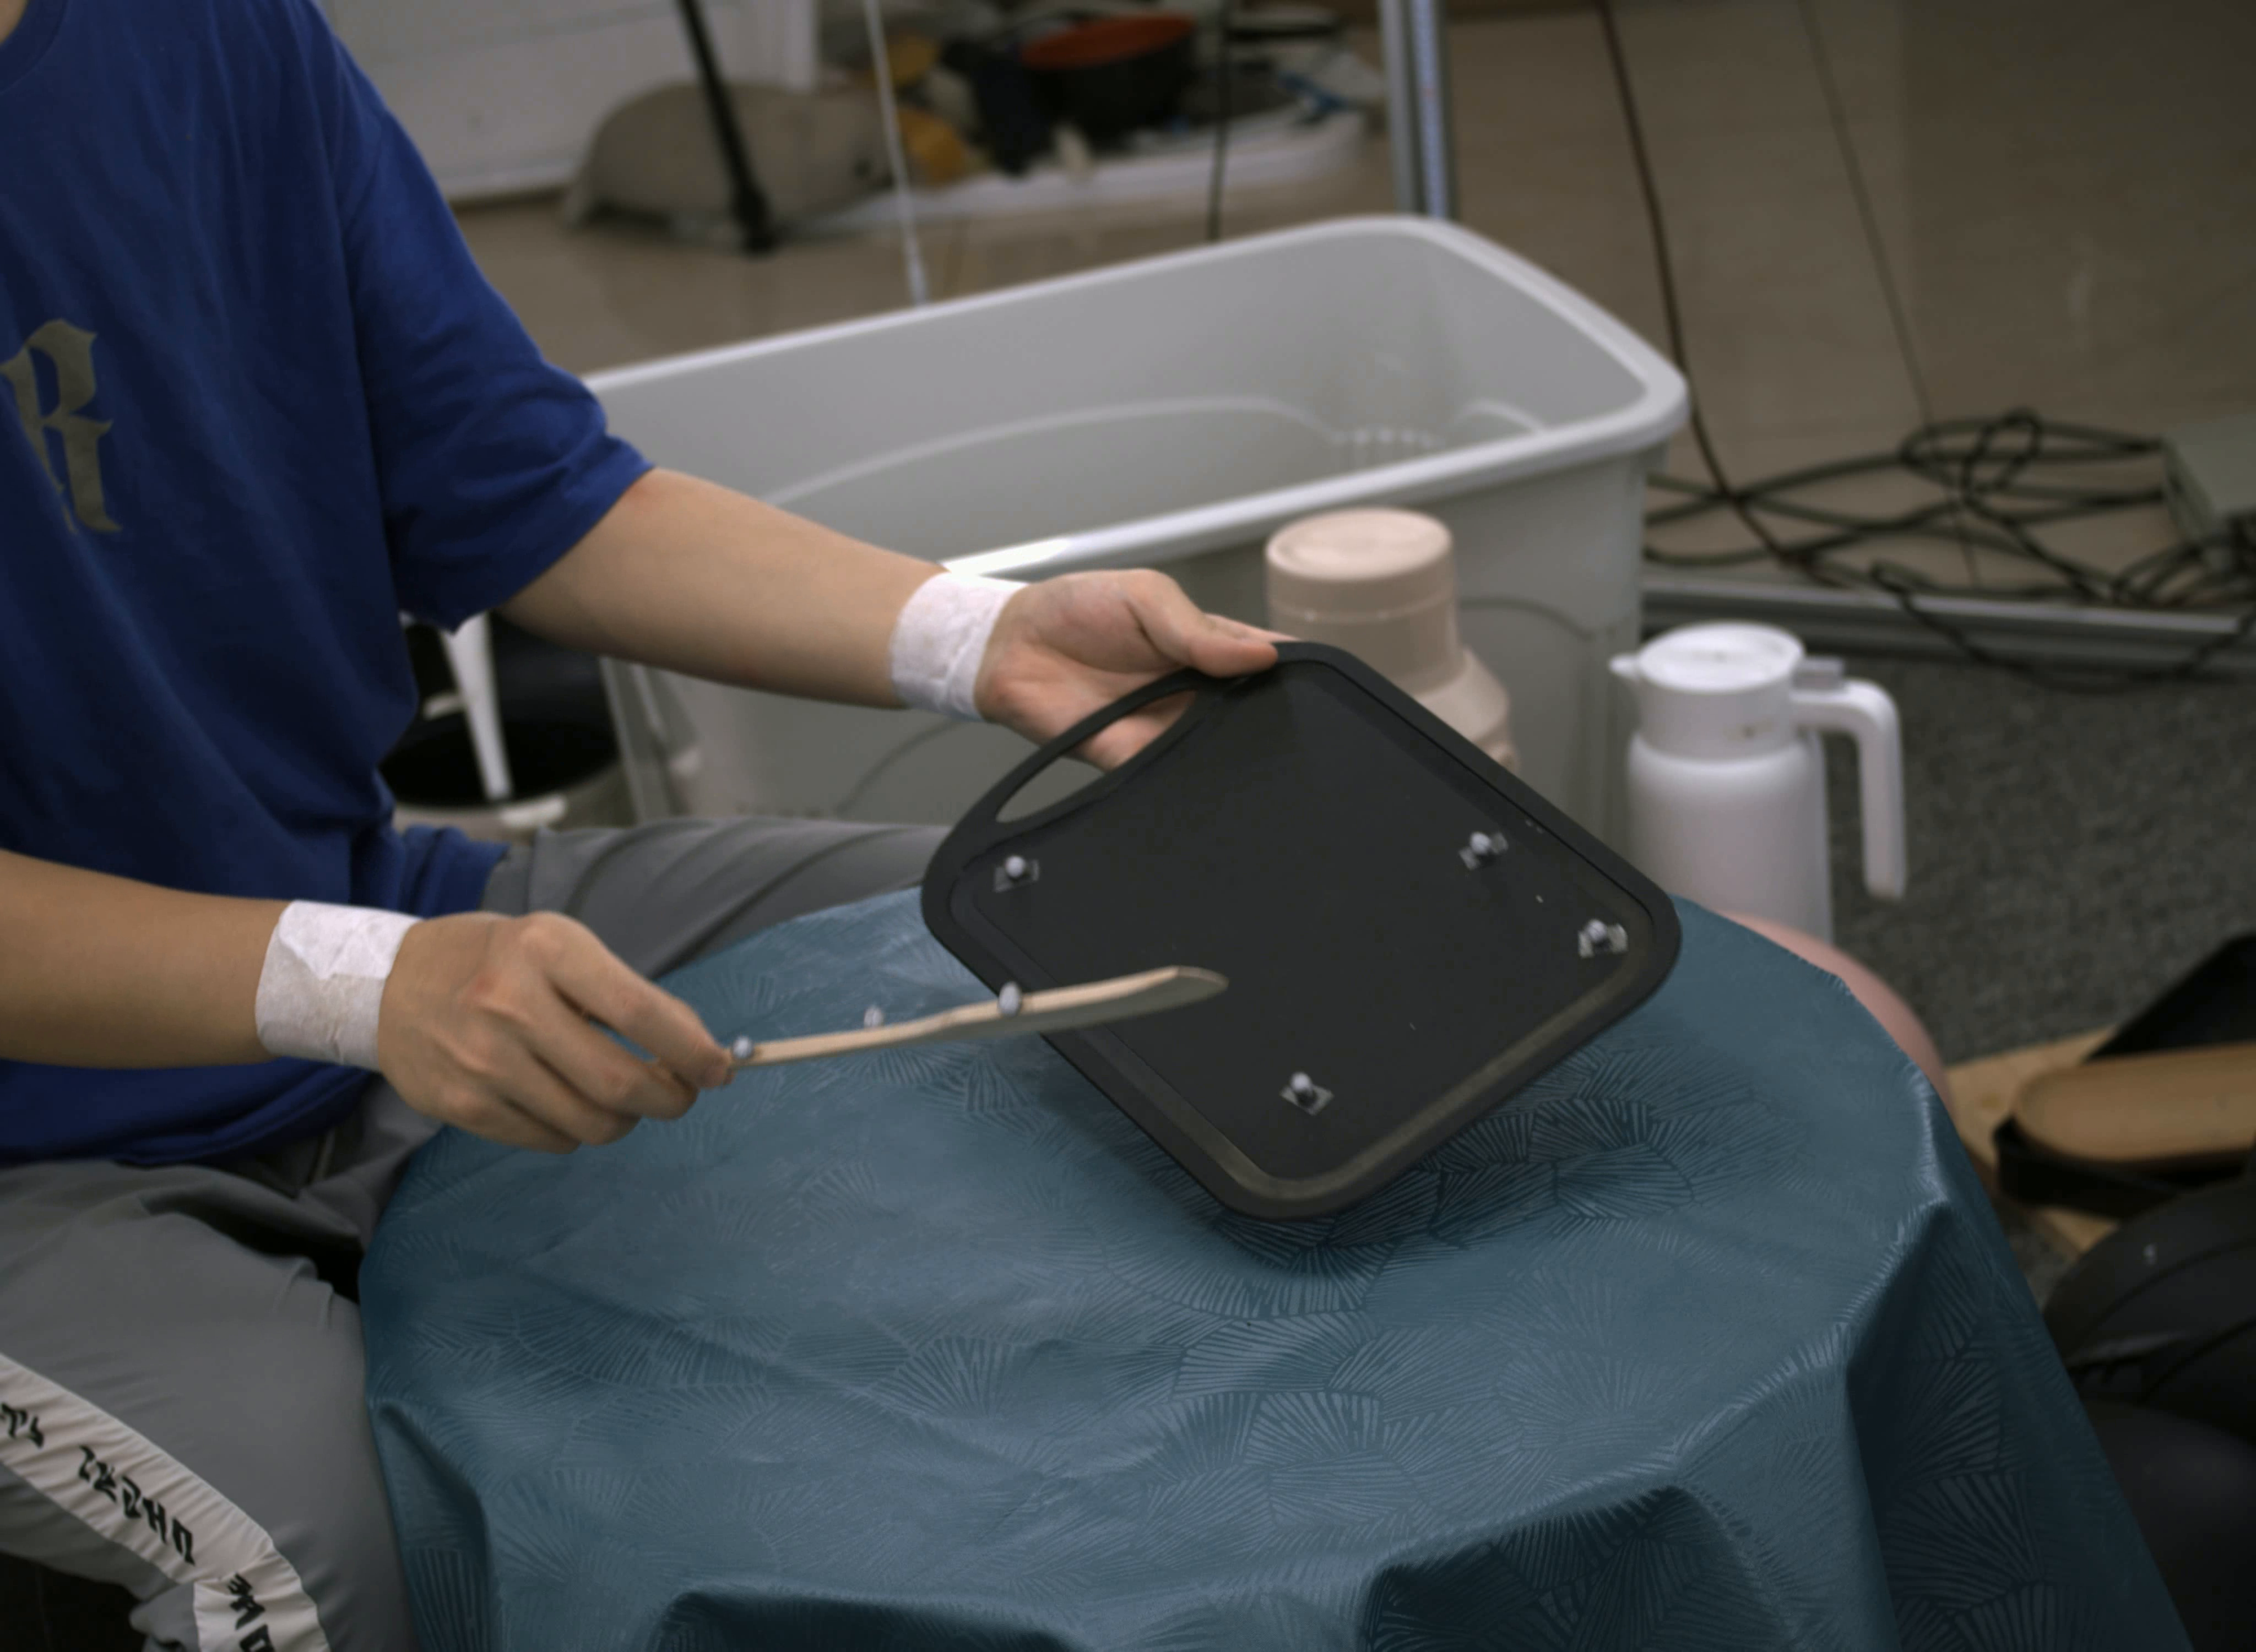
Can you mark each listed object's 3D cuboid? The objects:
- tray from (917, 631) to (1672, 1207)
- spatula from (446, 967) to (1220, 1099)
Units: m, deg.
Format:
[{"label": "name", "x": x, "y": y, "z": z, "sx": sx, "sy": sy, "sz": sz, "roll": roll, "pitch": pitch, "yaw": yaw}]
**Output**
[{"label": "tray", "x": 0.054, "y": 0.026, "z": 2.200, "sx": 0.210, "sy": 0.010, "sz": 0.321, "roll": -34, "pitch": 40, "yaw": -12}, {"label": "spatula", "x": -0.113, "y": 0.077, "z": 2.061, "sx": 0.293, "sy": 0.010, "sz": 0.072, "roll": -9, "pitch": -8, "yaw": 16}]
